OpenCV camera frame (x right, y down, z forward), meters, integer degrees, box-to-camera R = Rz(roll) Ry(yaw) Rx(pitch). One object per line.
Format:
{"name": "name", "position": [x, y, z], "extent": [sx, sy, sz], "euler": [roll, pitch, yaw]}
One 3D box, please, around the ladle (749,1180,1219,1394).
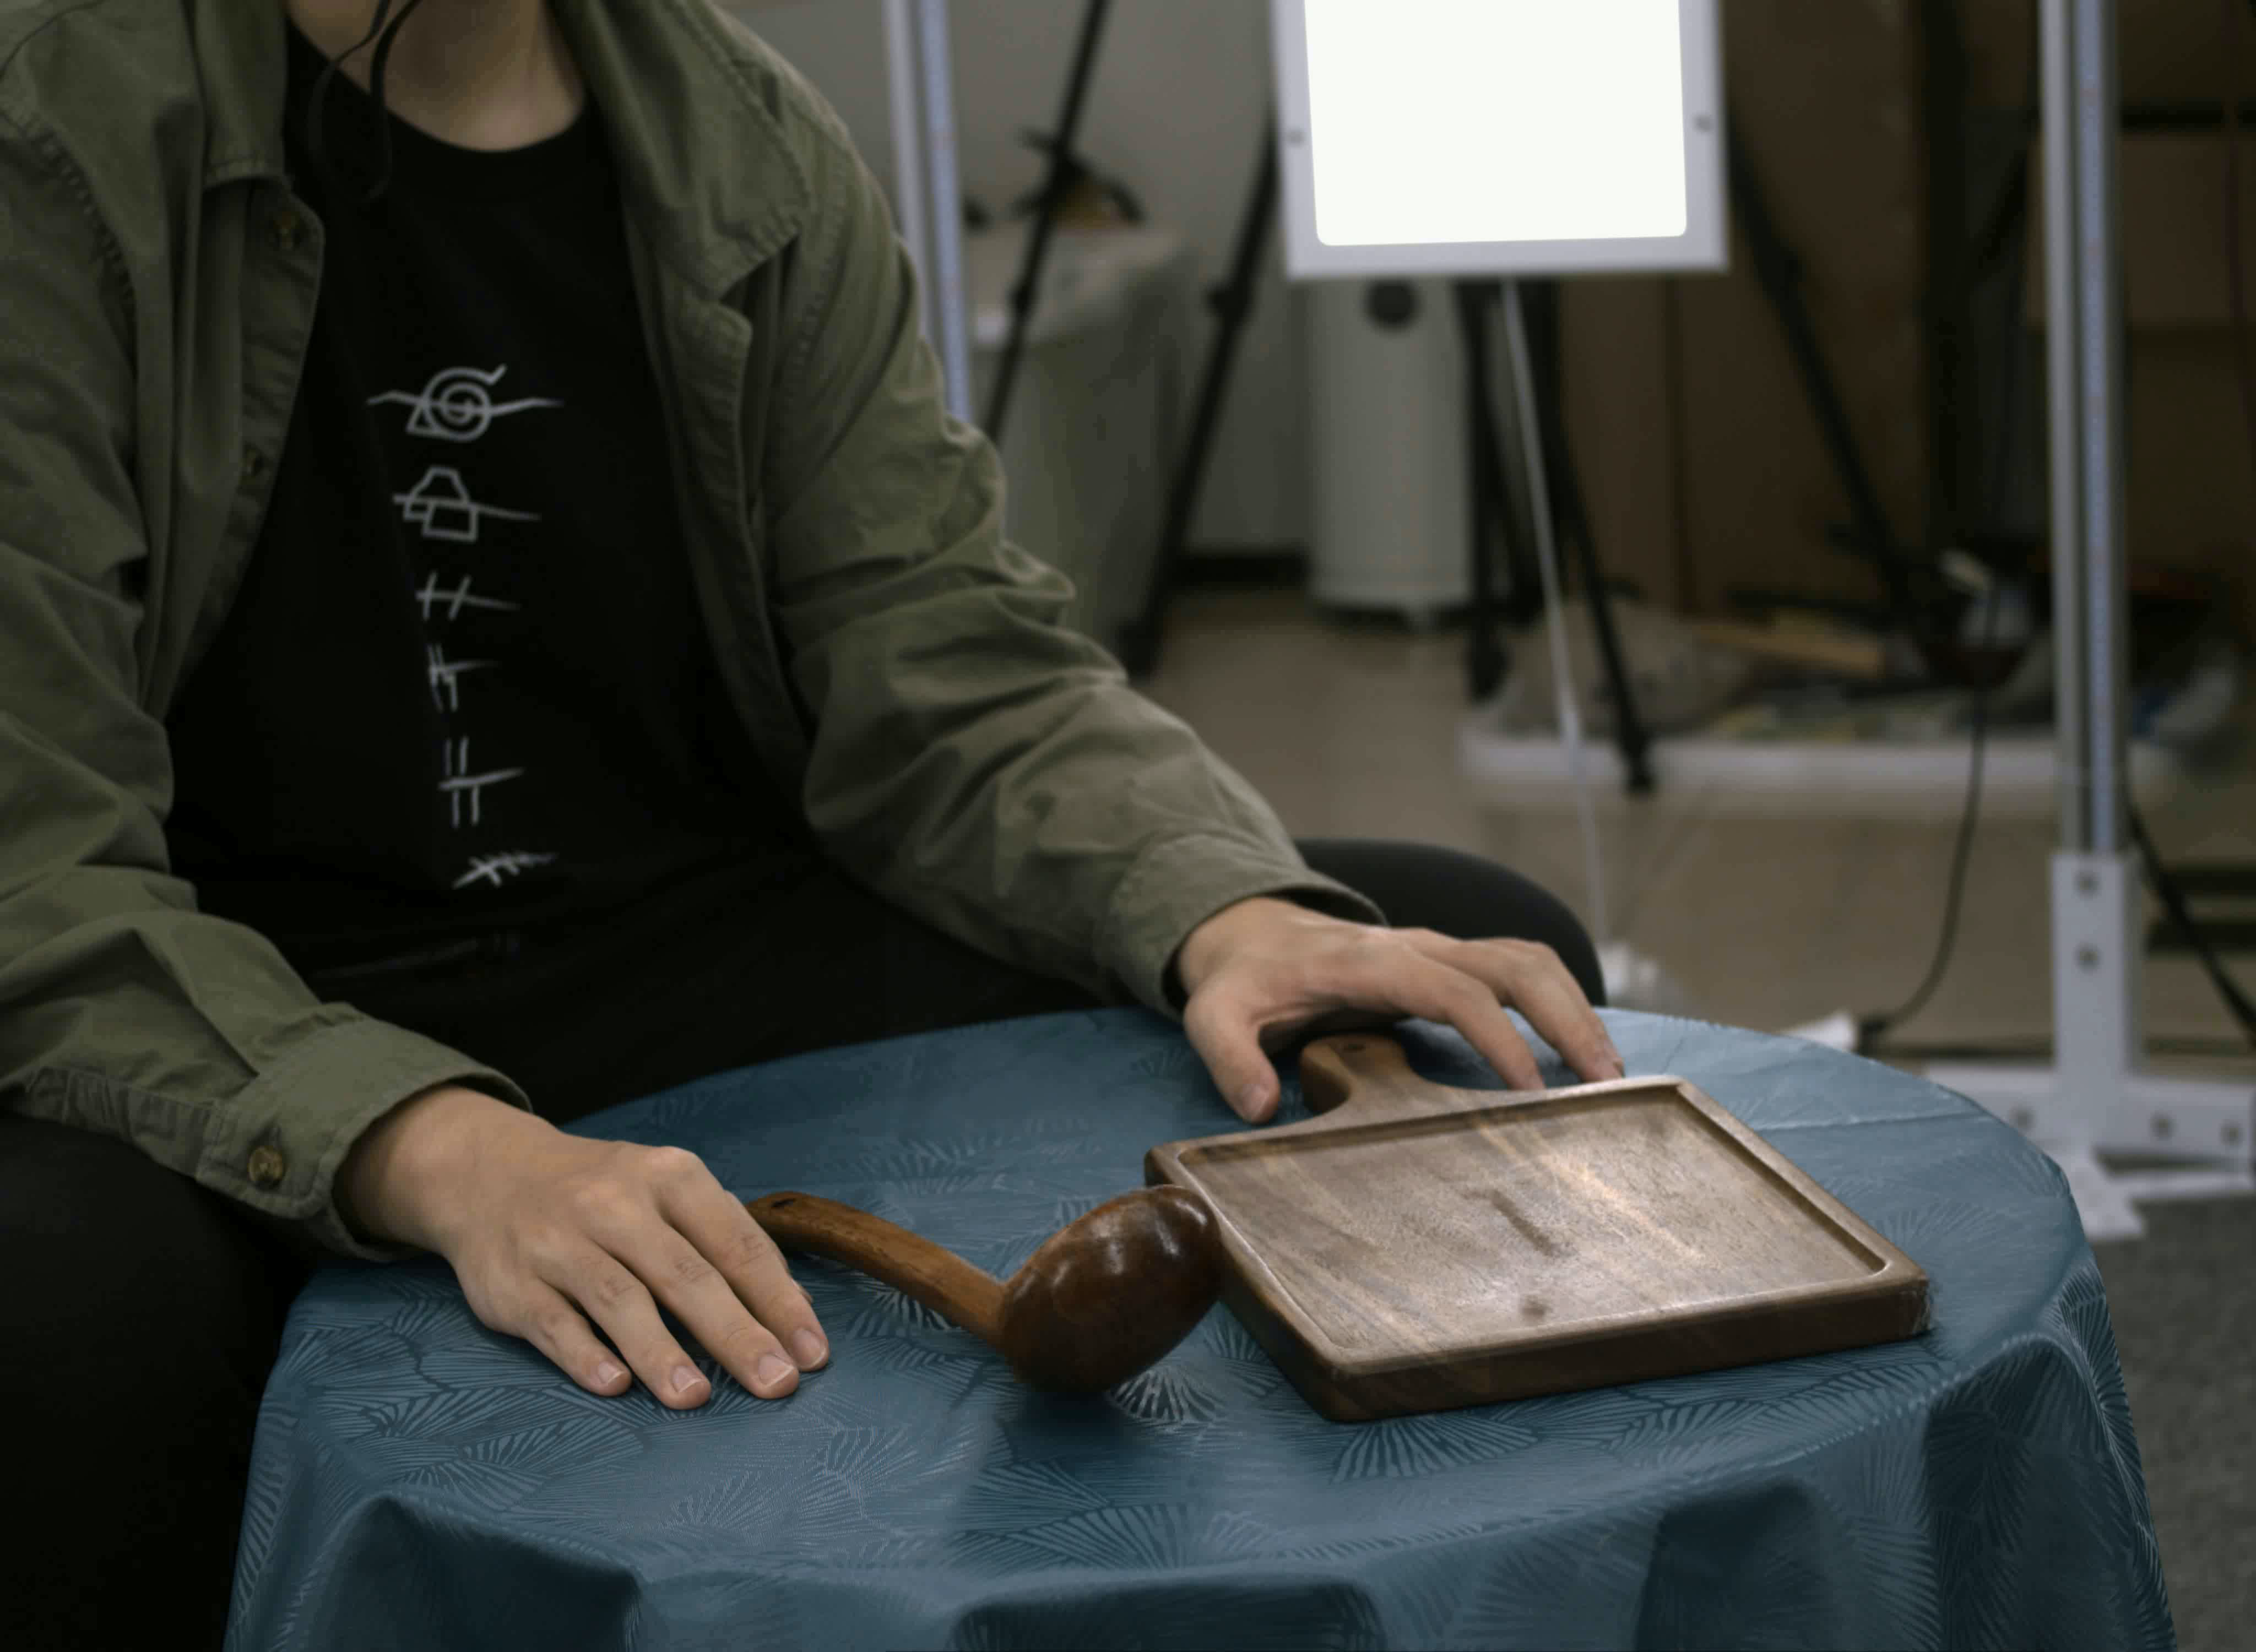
{"name": "ladle", "position": [-0.062, 0.125, 1.763], "extent": [0.080, 0.077, 0.279], "euler": [-17, 17, -26]}

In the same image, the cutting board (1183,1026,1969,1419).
{"name": "cutting board", "position": [0.130, 0.120, 1.826], "extent": [0.199, 0.023, 0.354], "euler": [-7, 14, -10]}
